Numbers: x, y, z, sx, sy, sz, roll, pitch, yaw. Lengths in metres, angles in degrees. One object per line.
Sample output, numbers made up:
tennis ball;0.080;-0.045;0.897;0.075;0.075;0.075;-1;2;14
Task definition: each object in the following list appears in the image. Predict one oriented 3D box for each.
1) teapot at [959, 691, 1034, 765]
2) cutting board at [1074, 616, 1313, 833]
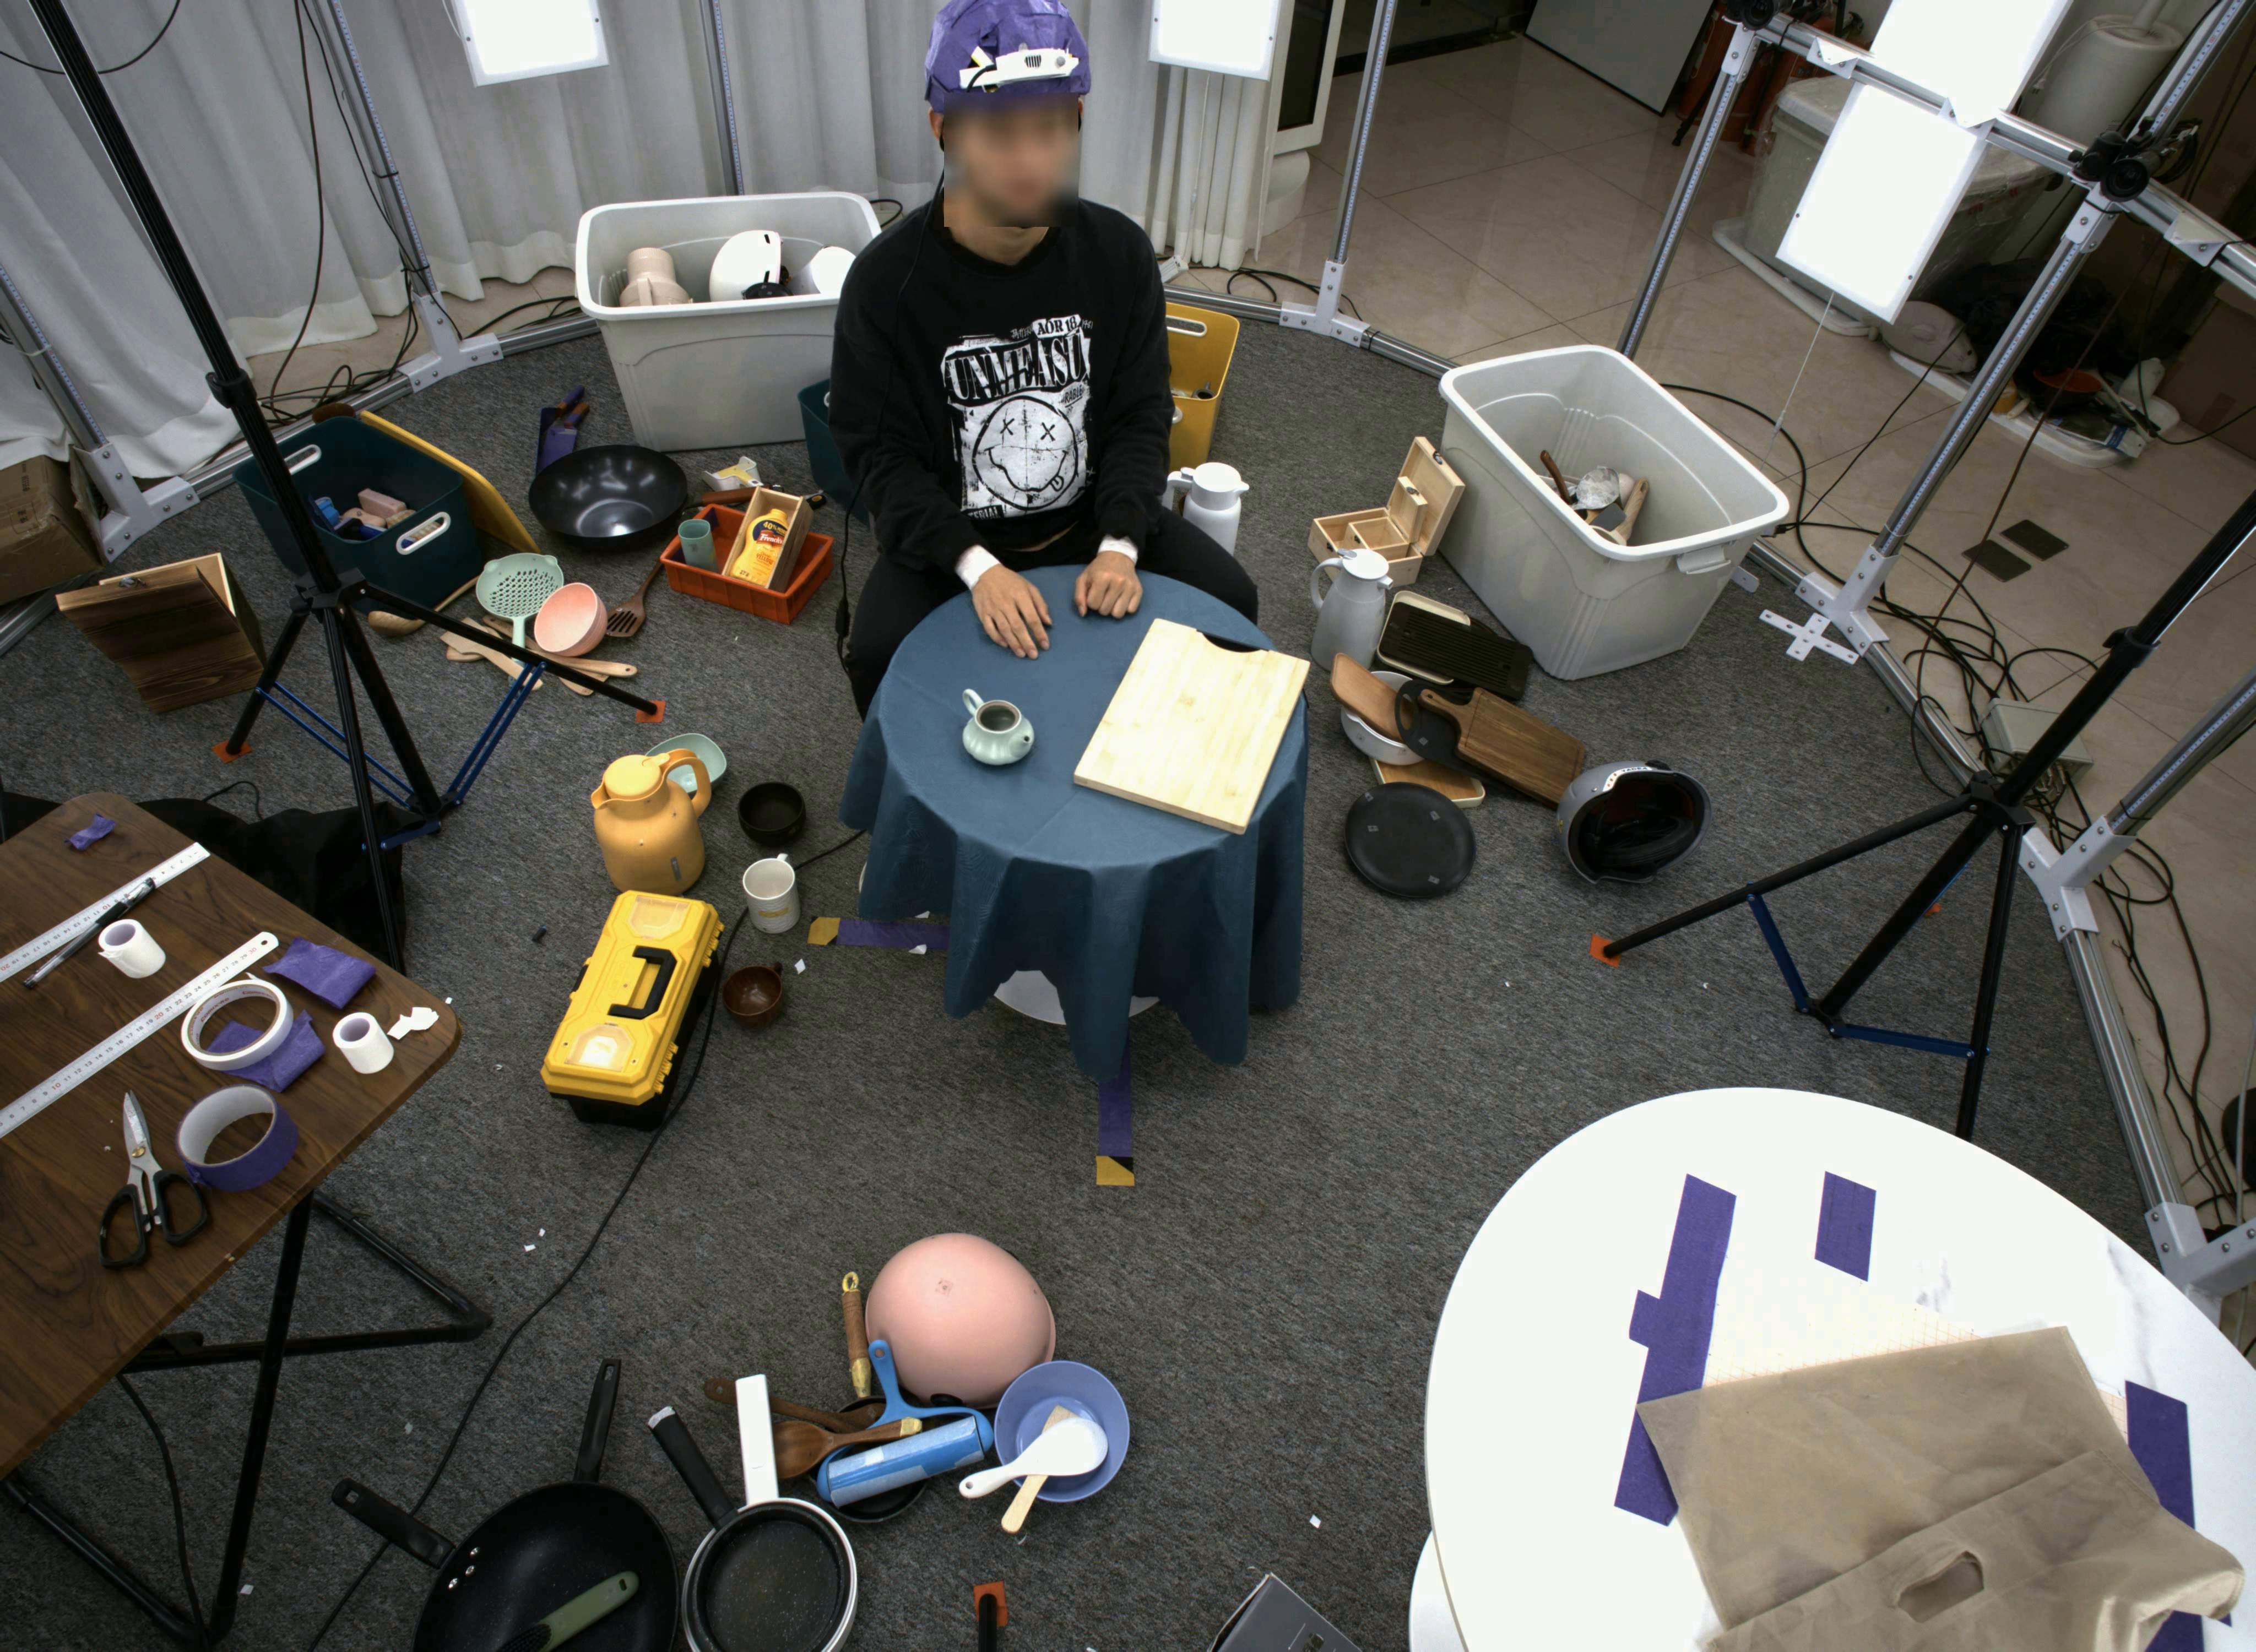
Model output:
teapot;-0.178;-0.132;1.734;0.139;0.060;0.097;38;58;25
cutting board;0.099;-0.152;1.797;0.251;0.023;0.356;16;50;10
